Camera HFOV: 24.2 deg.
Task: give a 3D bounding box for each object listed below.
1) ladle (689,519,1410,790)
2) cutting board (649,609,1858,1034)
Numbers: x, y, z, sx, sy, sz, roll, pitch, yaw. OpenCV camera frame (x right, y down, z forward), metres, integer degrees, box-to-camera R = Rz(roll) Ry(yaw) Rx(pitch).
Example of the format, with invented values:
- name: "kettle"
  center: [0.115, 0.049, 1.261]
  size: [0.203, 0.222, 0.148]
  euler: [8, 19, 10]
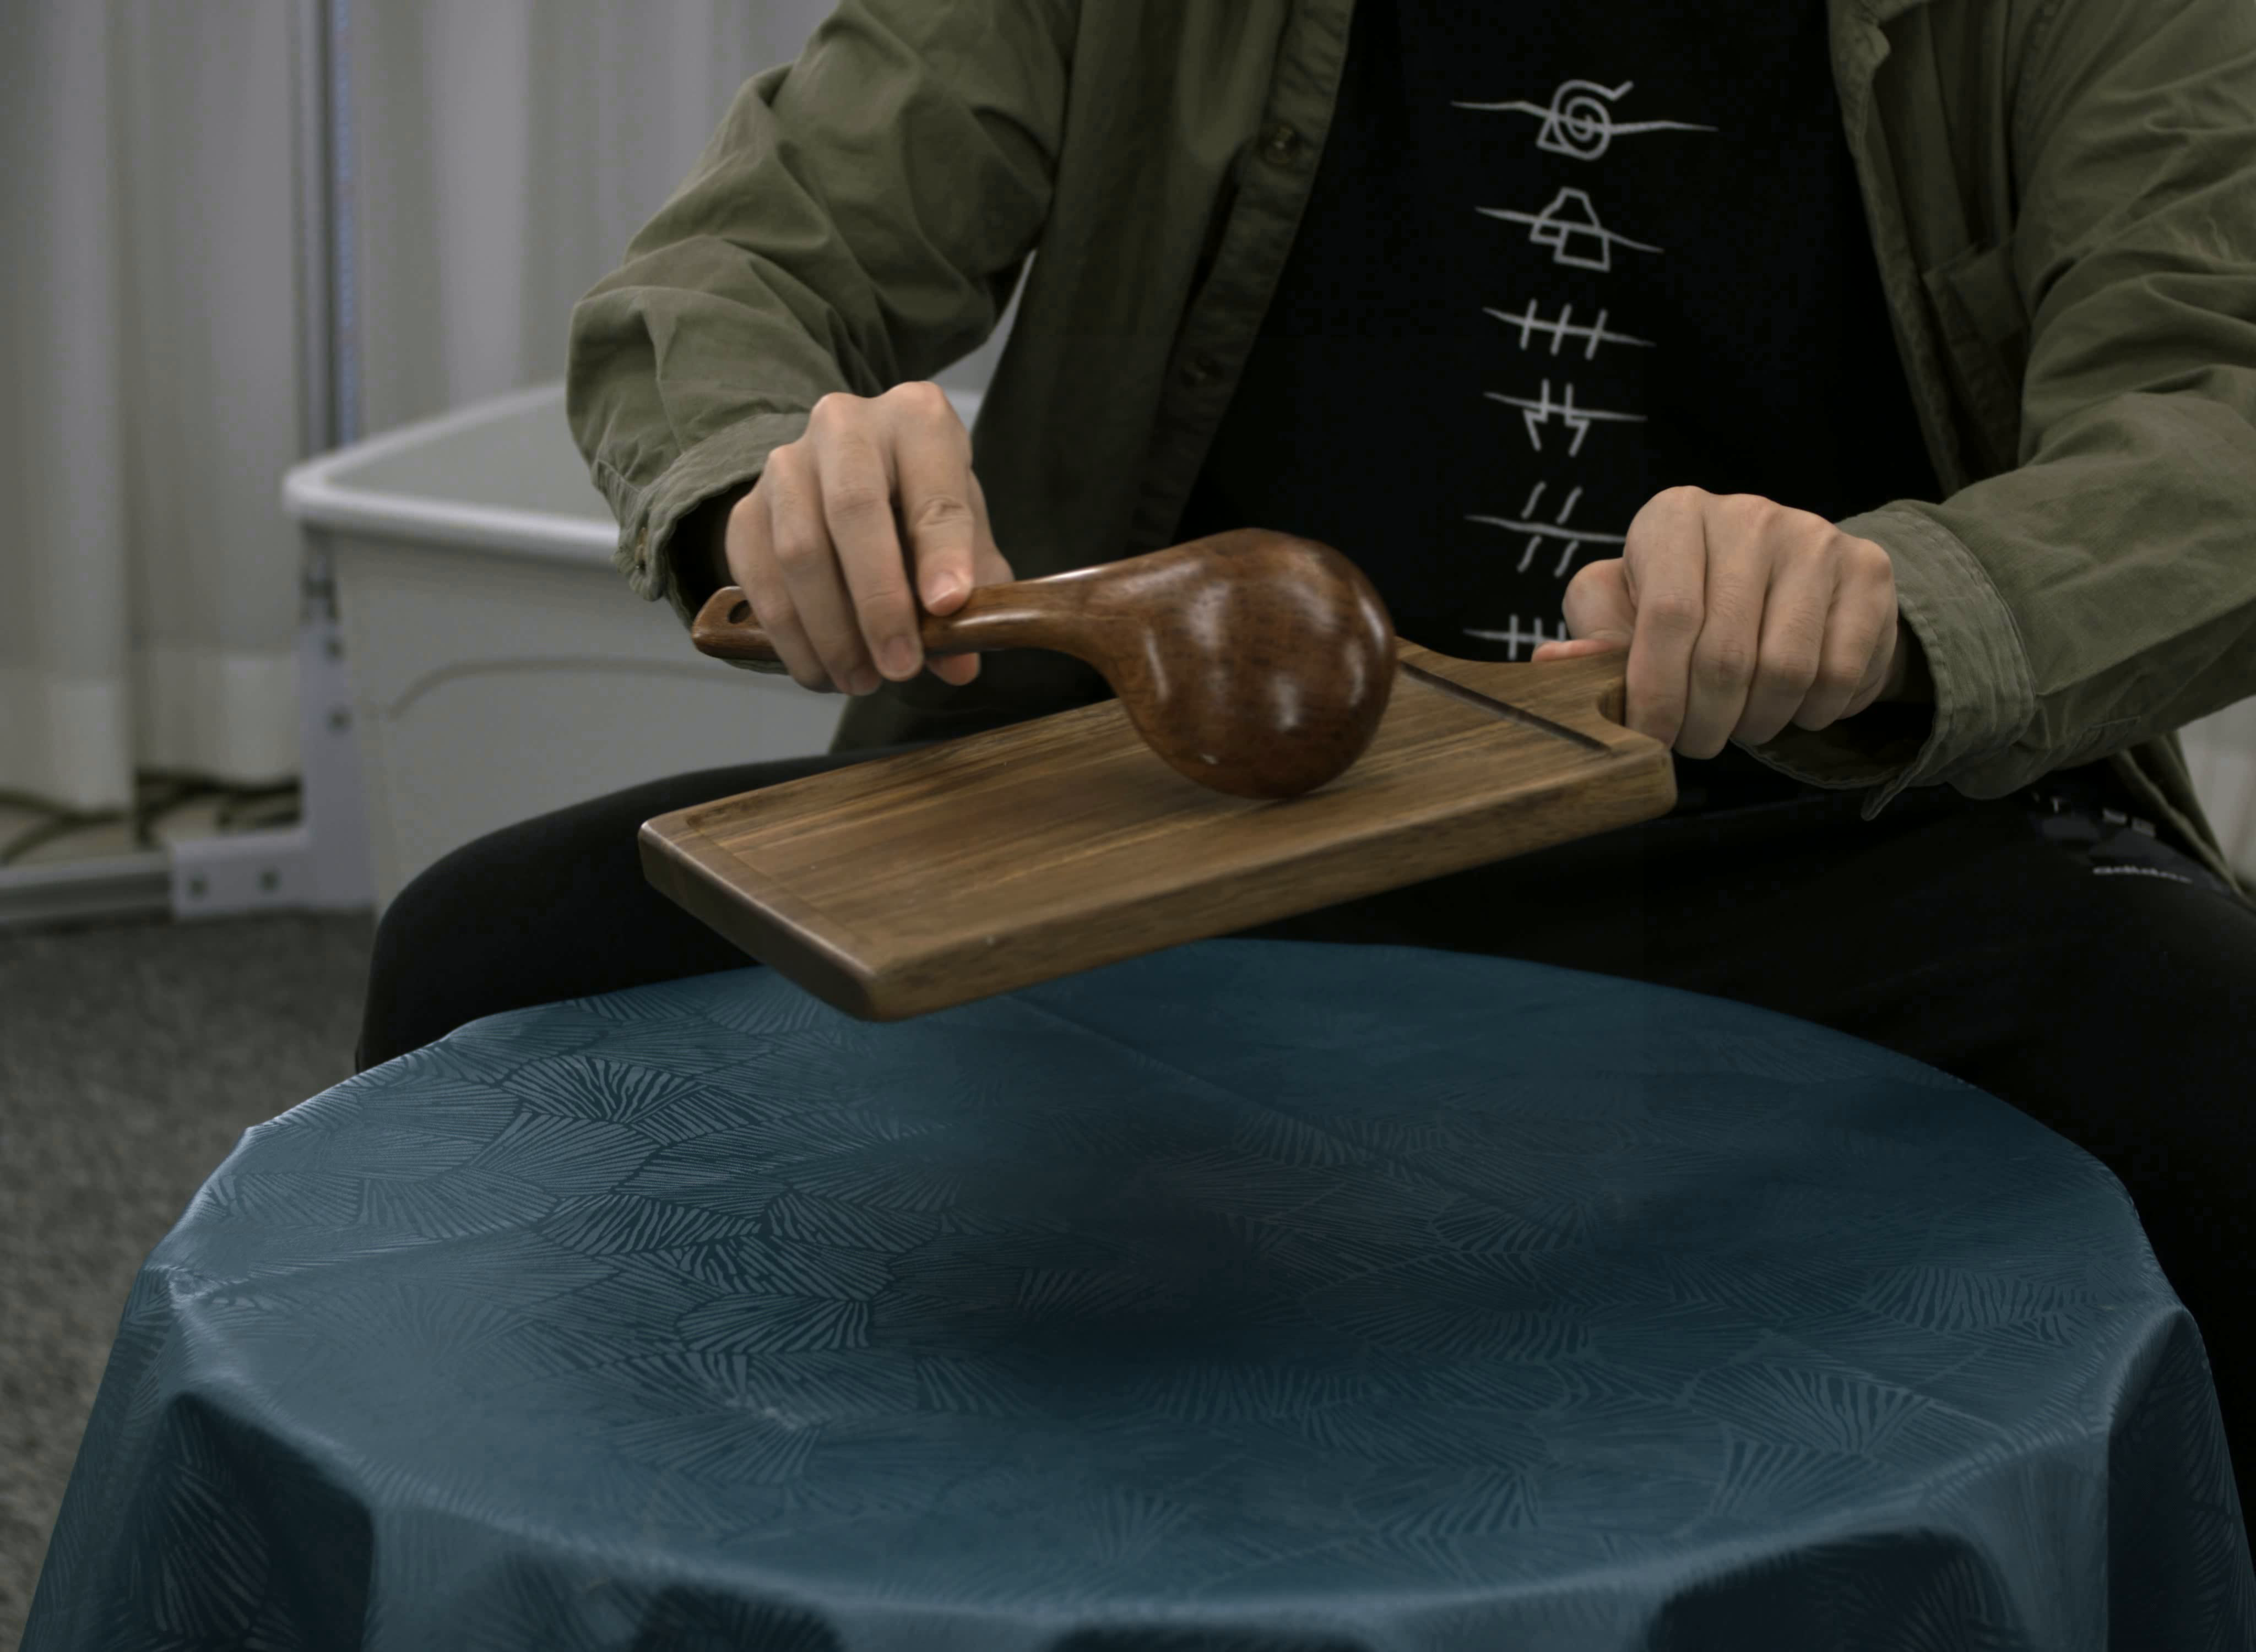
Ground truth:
- name: "ladle"
  center: [-0.025, -0.050, 1.575]
  size: [0.271, 0.077, 0.082]
  euler: [-1, 52, 51]
- name: "cutting board"
  center: [0.054, -0.013, 1.514]
  size: [0.352, 0.023, 0.199]
  euler: [-14, 17, -18]
